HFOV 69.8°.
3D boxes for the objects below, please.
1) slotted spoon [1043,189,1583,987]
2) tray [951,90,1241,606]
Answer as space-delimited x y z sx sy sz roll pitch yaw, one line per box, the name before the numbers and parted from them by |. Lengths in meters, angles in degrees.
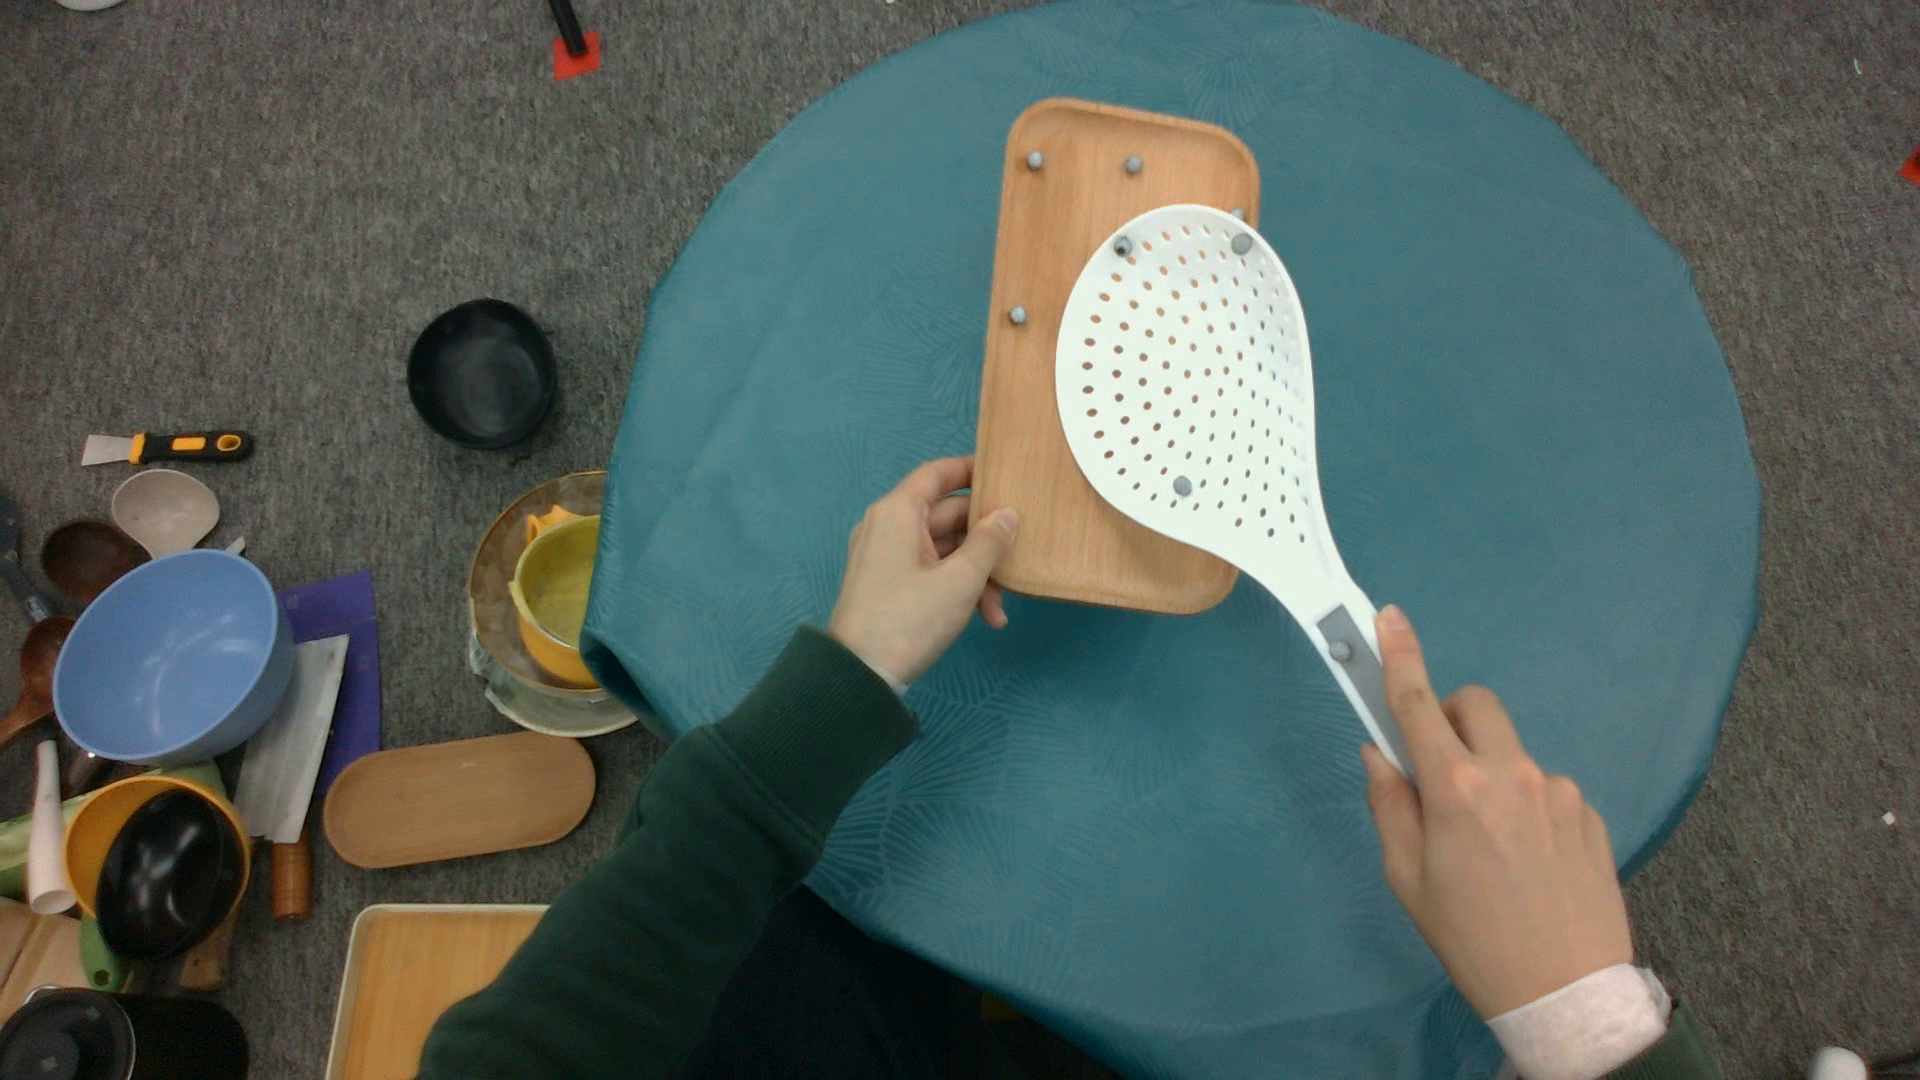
slotted spoon | 0.135 0.009 0.549 0.046 0.135 0.350 -2 57 -38
tray | 0.067 -0.094 0.651 0.130 0.023 0.251 7 74 -6
